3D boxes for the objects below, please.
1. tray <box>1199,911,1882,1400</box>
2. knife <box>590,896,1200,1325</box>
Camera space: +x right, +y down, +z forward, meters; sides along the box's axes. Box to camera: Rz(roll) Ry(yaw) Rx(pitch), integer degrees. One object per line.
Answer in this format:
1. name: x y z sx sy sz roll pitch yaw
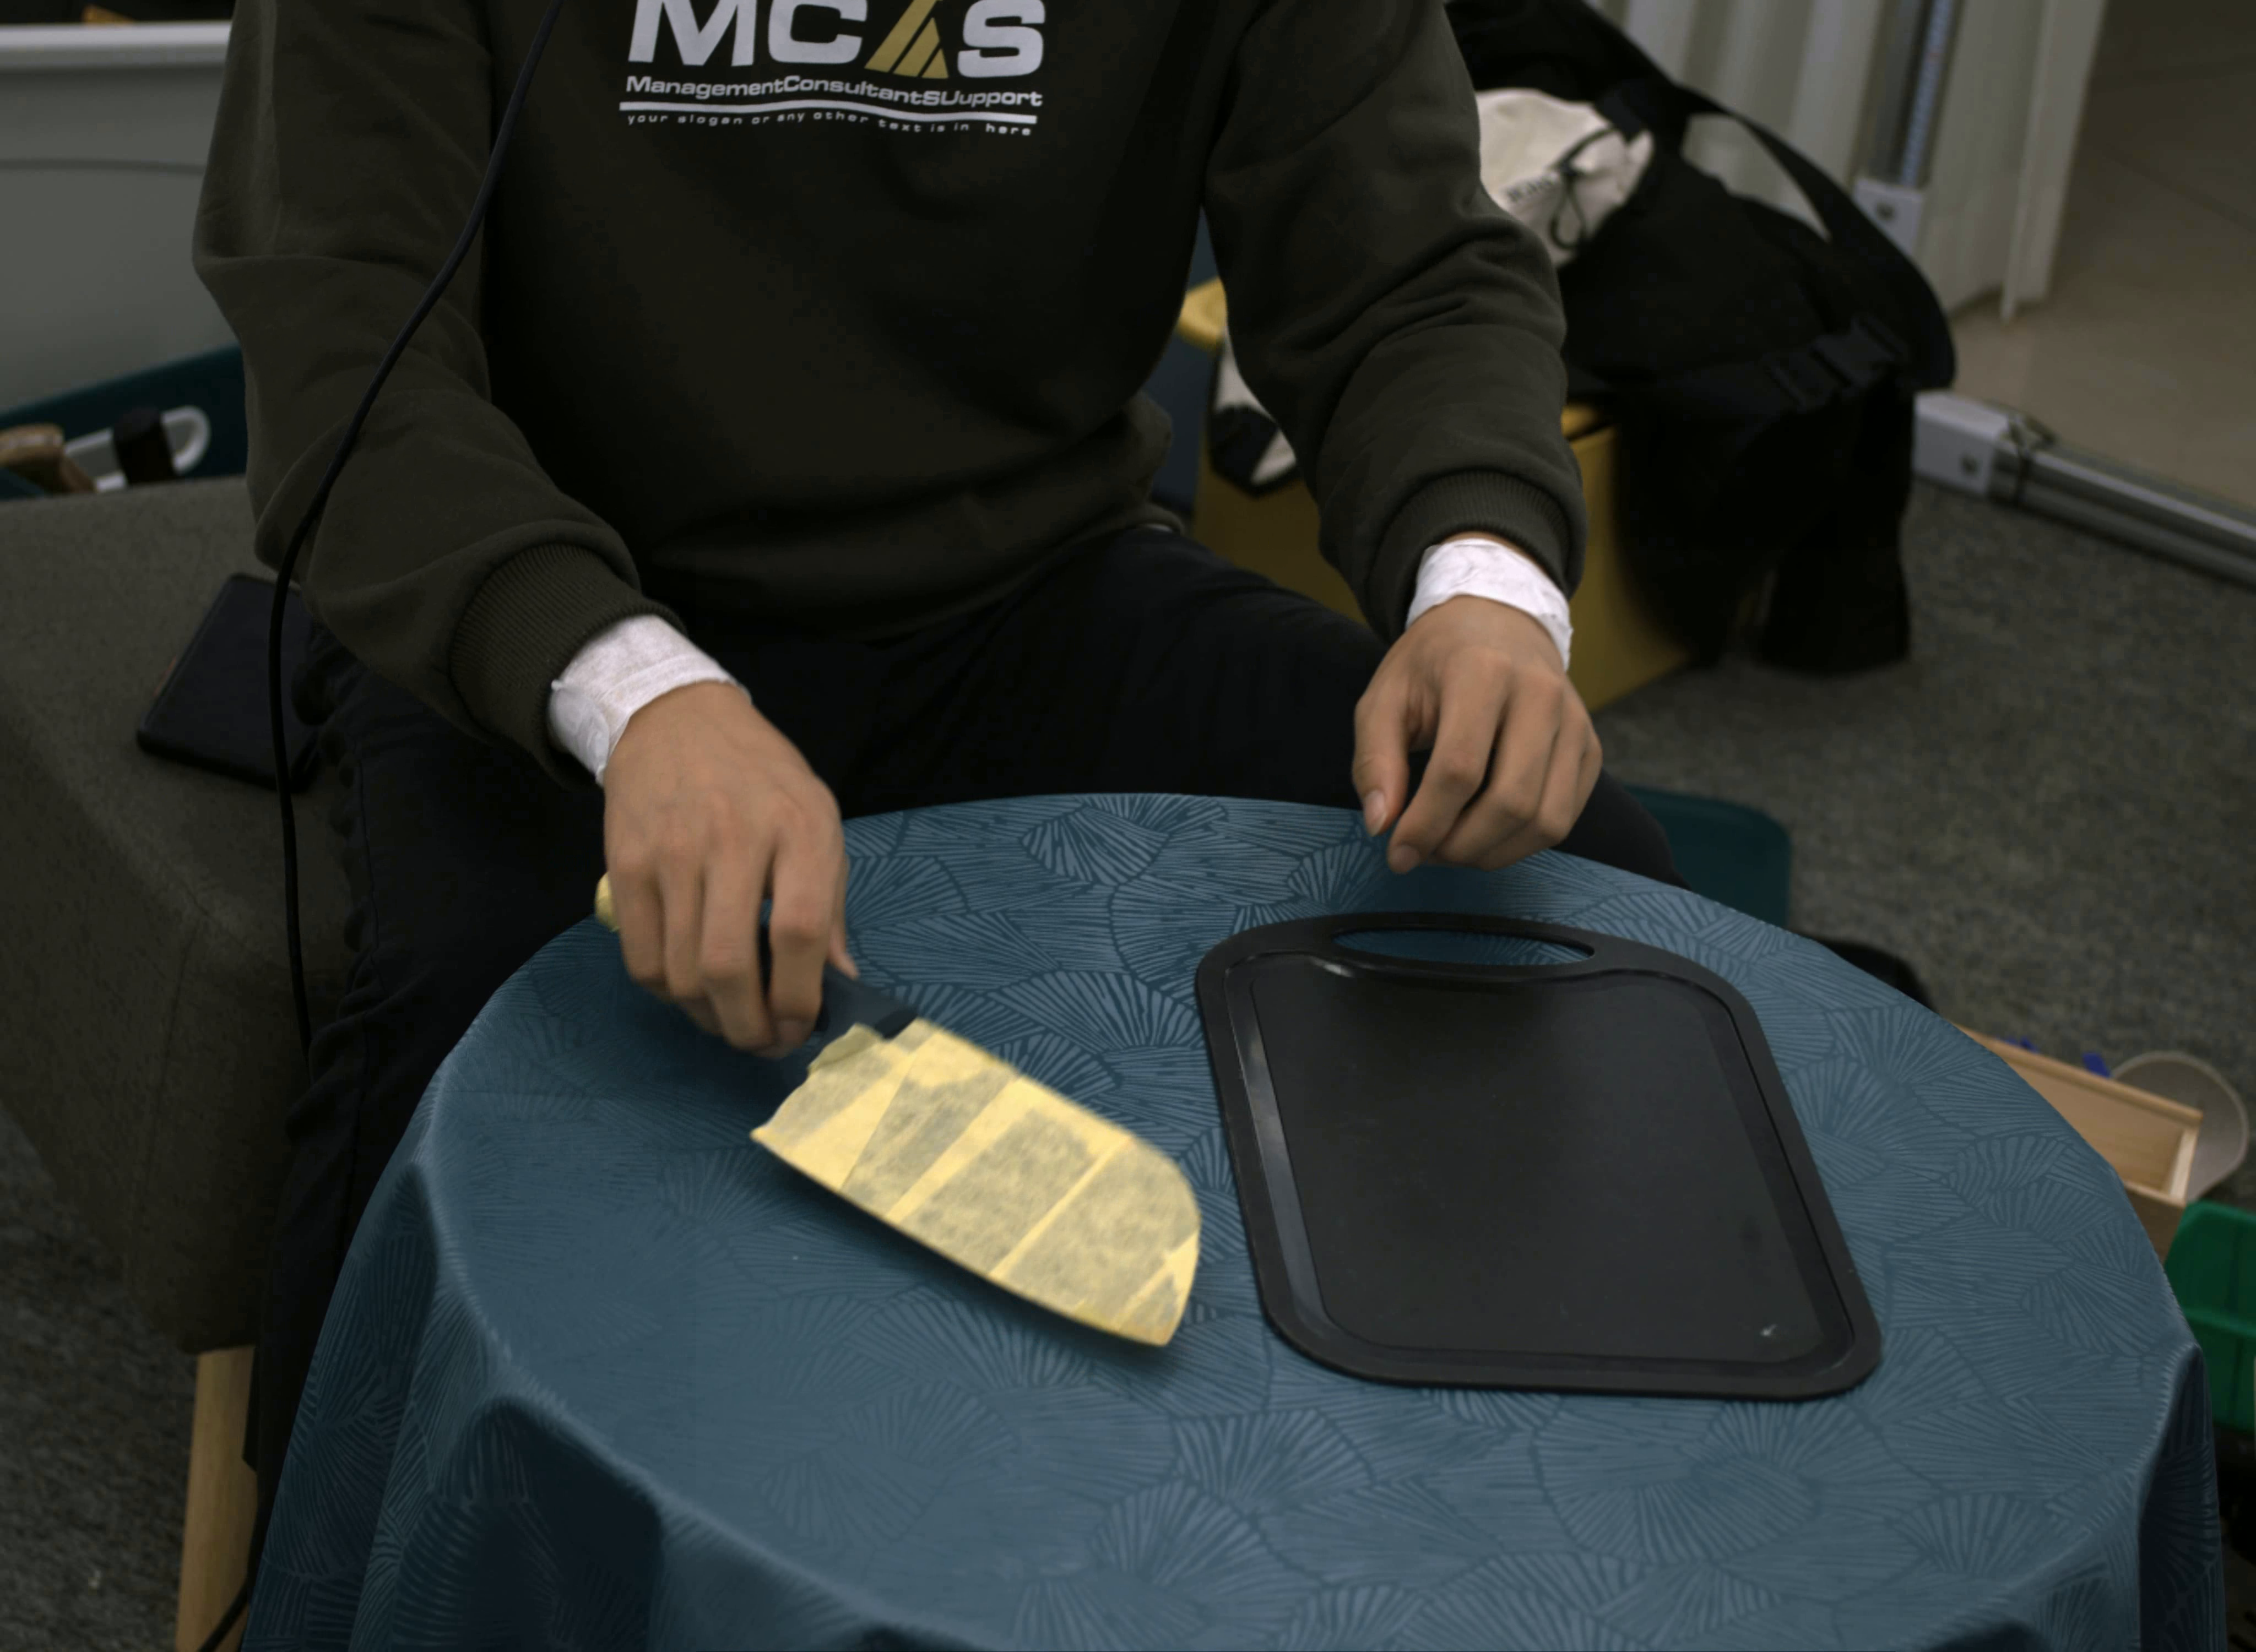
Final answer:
1. tray: 0.137 0.107 1.861 0.210 0.010 0.327 3 27 -7
2. knife: -0.087 0.095 1.787 0.291 0.027 0.081 29 54 34
